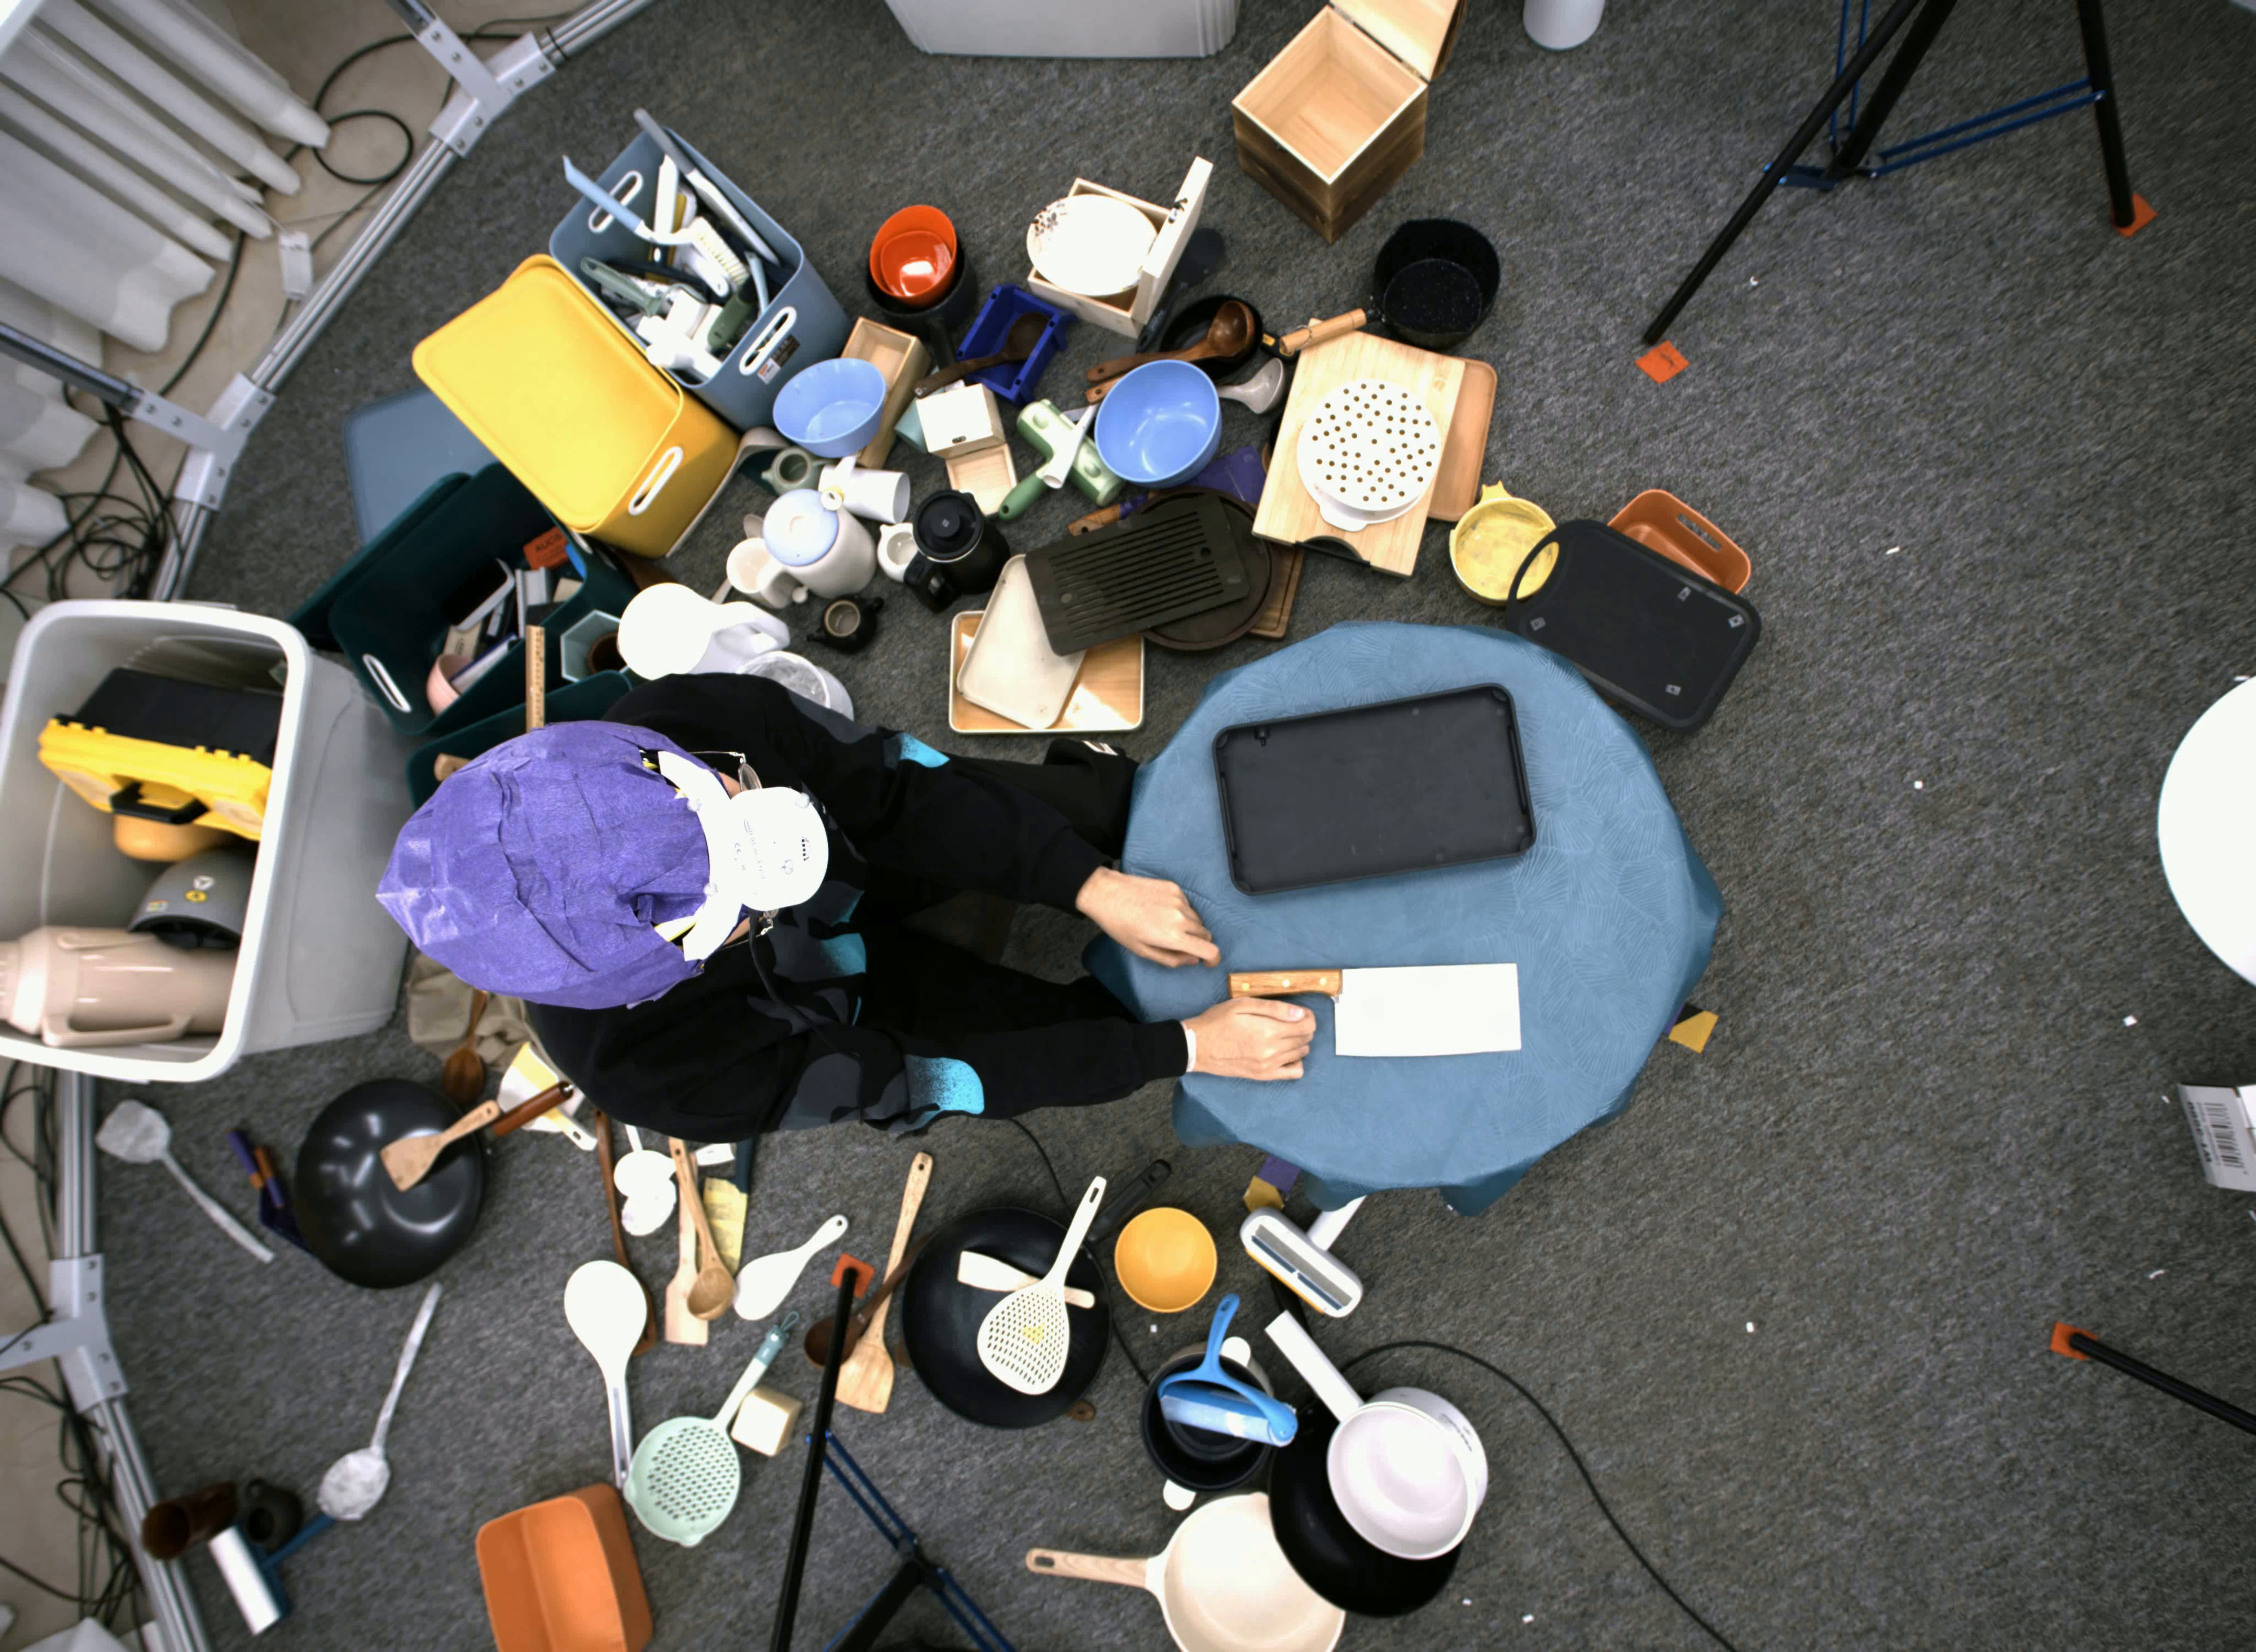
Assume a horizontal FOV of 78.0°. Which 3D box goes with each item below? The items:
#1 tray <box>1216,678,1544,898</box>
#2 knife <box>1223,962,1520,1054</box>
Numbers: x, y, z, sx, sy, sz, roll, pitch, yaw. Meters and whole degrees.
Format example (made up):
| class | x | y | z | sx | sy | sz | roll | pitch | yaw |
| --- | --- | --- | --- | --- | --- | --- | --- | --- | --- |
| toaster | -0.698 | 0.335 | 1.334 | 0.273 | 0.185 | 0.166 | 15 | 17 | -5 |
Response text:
| class | x | y | z | sx | sy | sz | roll | pitch | yaw |
| --- | --- | --- | --- | --- | --- | --- | --- | --- | --- |
| tray | 0.262 | -0.039 | 1.449 | 0.319 | 0.037 | 0.183 | -11 | 85 | 10 |
| knife | 0.254 | 0.190 | 1.449 | 0.307 | 0.021 | 0.092 | -3 | 88 | 8 |
